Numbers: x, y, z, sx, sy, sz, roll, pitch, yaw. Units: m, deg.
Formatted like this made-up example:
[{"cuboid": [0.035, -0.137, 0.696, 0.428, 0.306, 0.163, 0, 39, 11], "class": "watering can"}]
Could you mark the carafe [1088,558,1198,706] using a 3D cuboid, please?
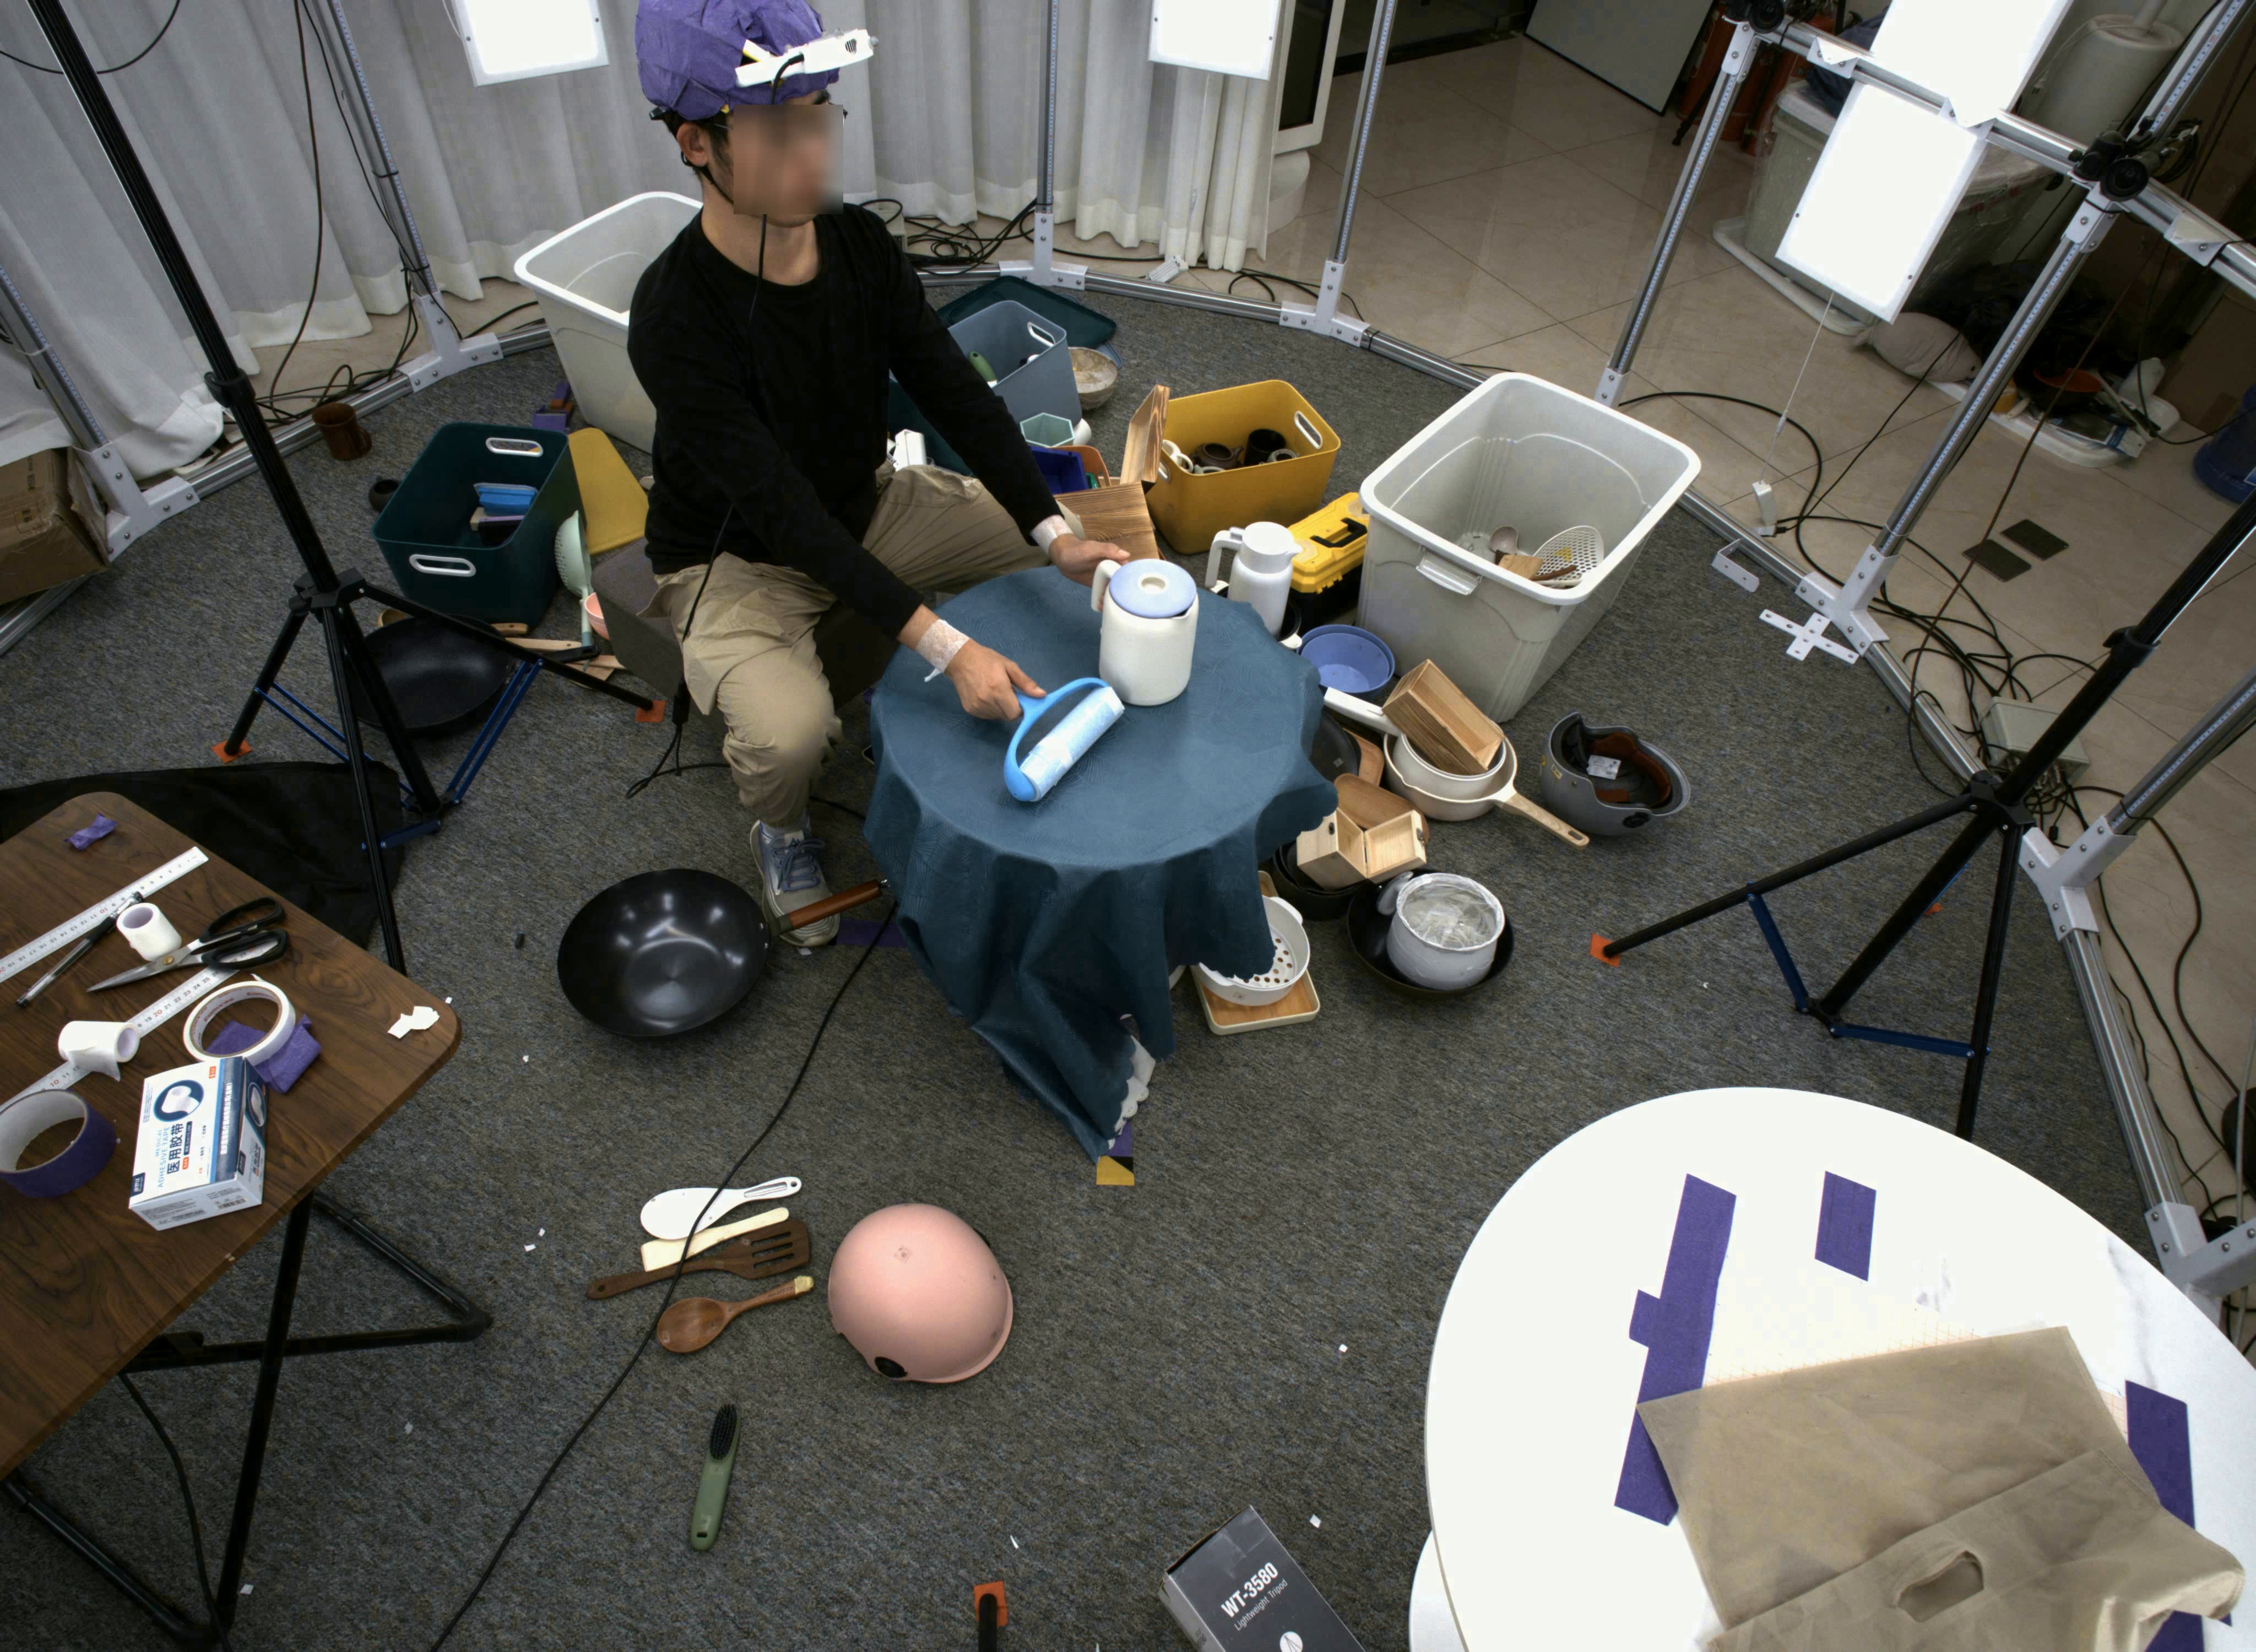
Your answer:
[{"cuboid": [0.012, -0.285, 1.807, 0.133, 0.178, 0.194, -32, 56, -28], "class": "carafe"}]

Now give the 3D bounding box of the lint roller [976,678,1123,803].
[{"cuboid": [-0.131, -0.146, 1.737, 0.181, 0.066, 0.232, 35, 58, 8], "class": "lint roller"}]
